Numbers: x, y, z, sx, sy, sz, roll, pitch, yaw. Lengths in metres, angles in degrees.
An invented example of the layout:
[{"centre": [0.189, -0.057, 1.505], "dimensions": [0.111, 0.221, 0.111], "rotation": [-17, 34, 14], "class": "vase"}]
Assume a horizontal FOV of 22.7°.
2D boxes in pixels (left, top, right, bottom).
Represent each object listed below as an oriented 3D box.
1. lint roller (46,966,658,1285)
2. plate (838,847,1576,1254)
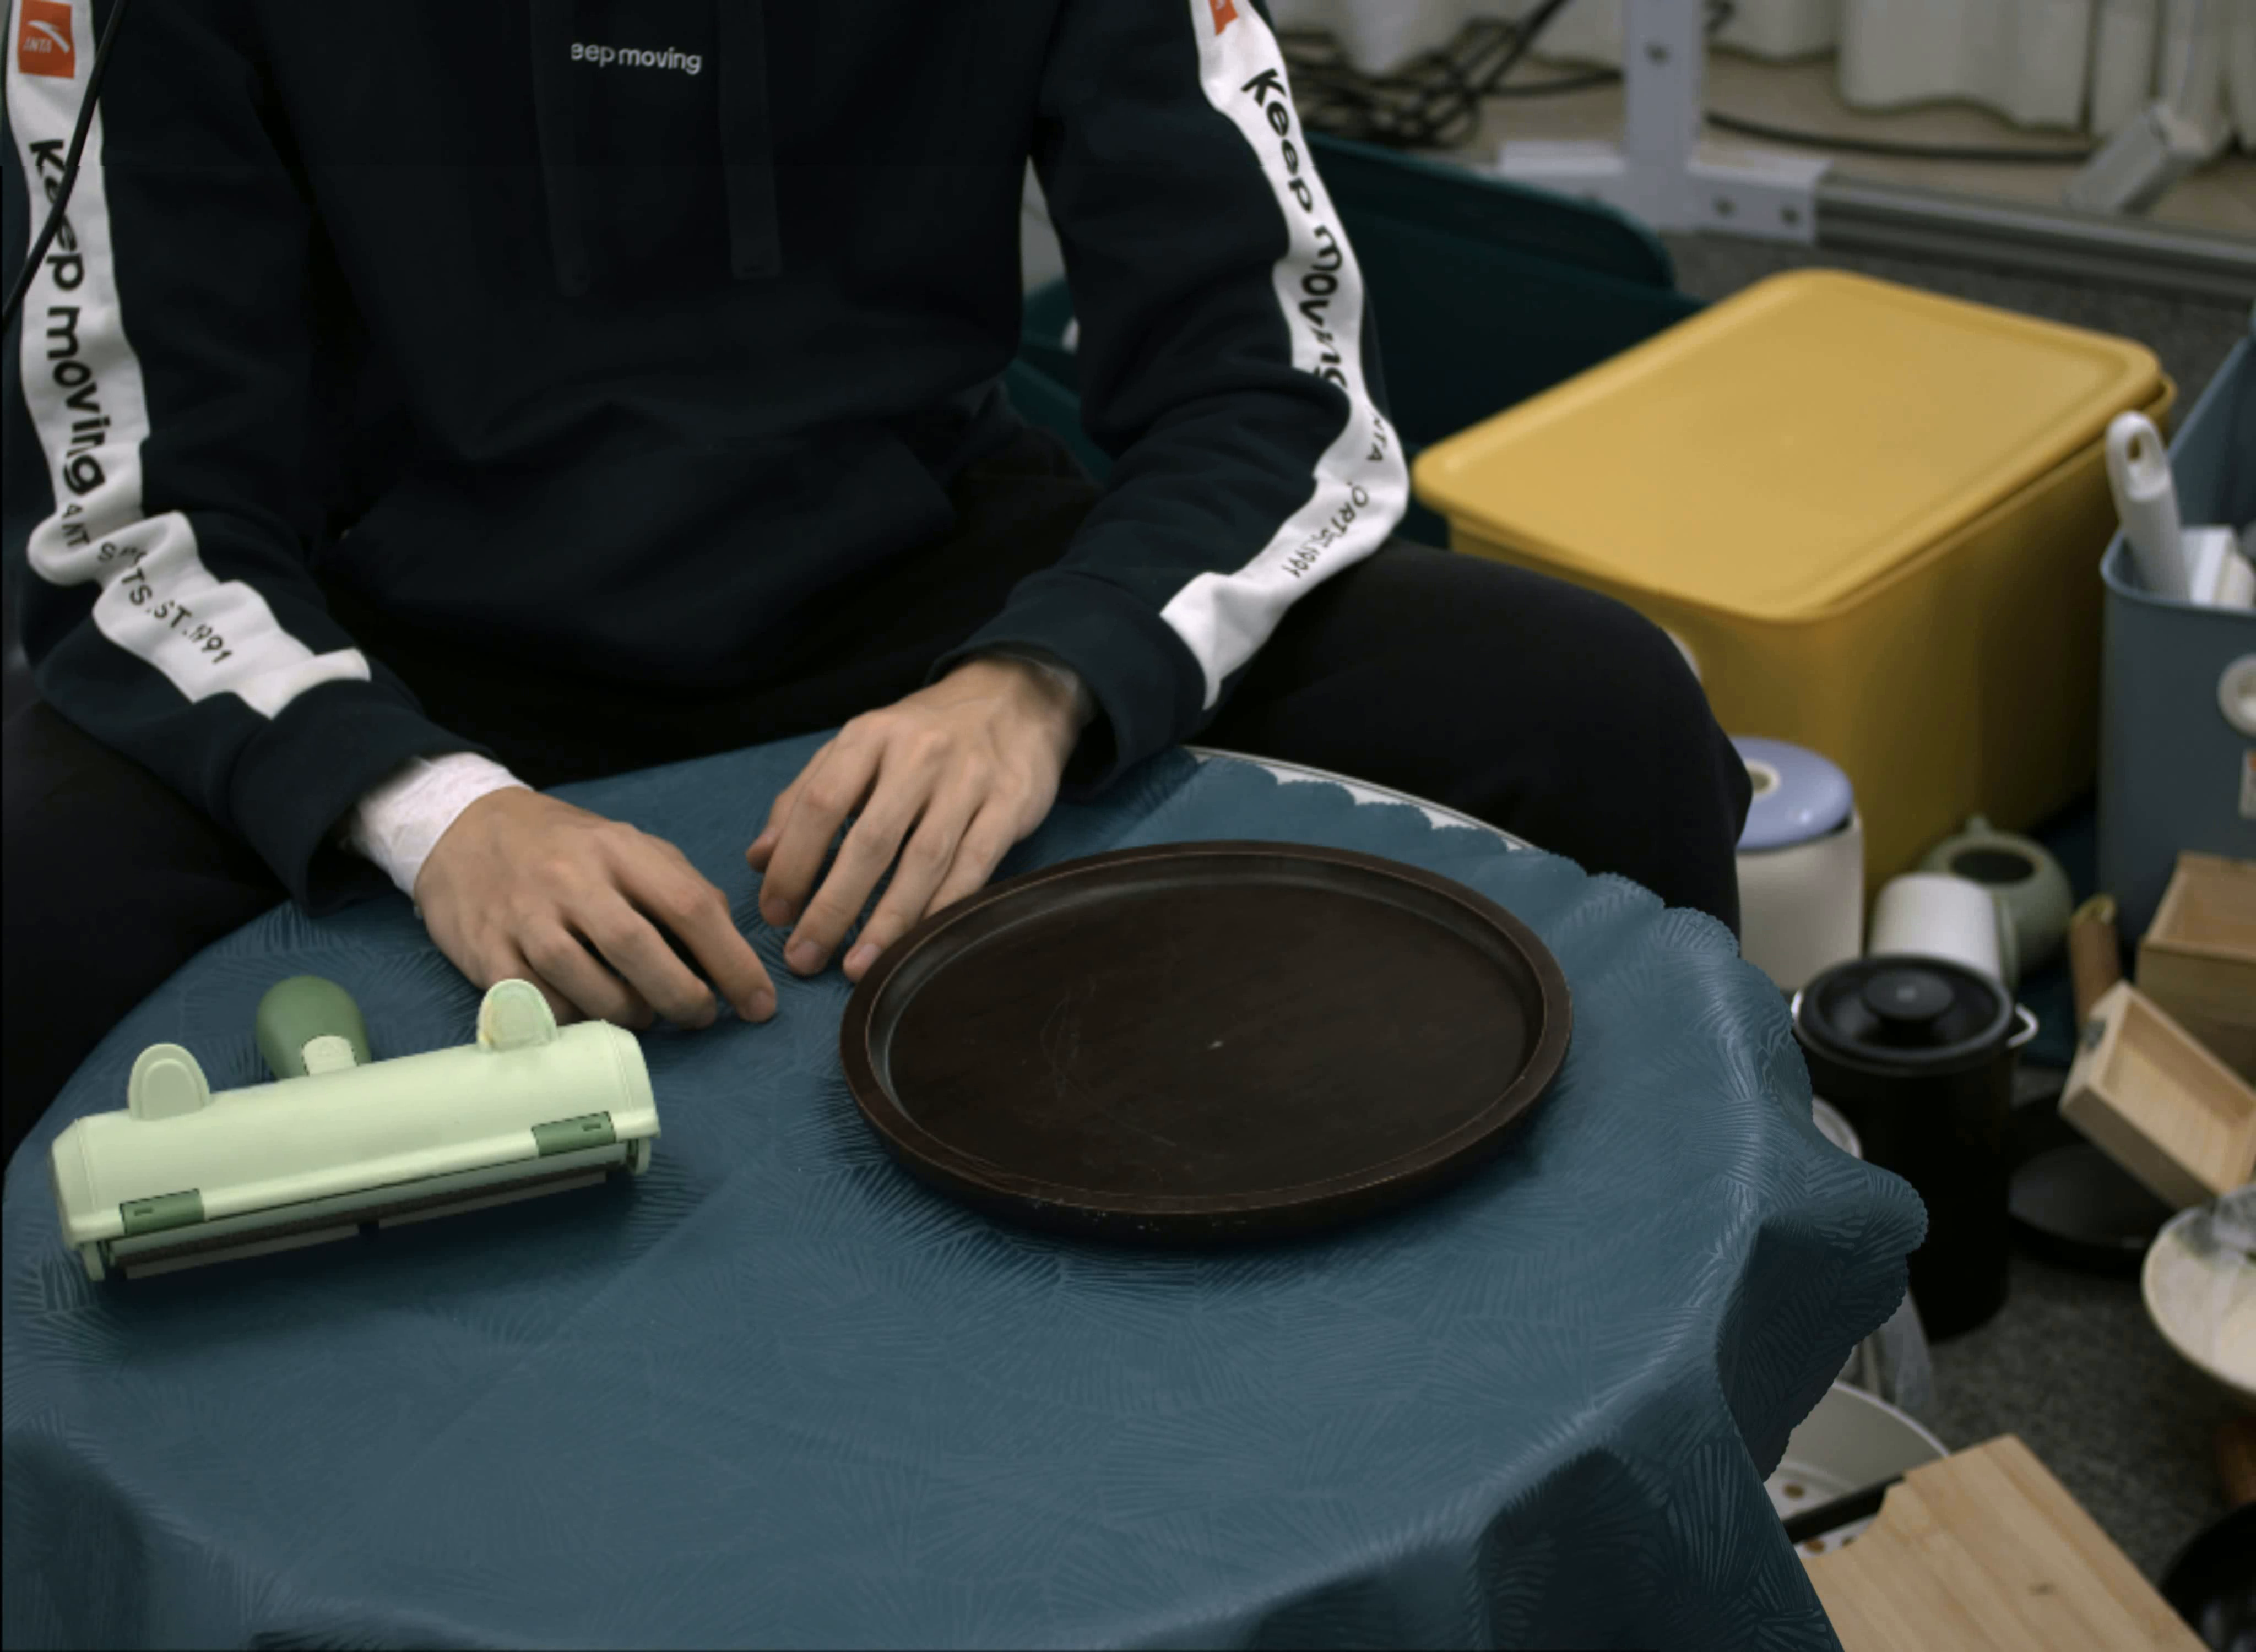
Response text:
[{"centre": [-0.270, 0.074, 1.891], "dimensions": [0.199, 0.081, 0.185], "rotation": [-10, 31, -14], "class": "lint roller"}, {"centre": [0.027, 0.075, 1.922], "dimensions": [0.253, 0.029, 0.259], "rotation": [-3, 29, 2], "class": "plate"}]
